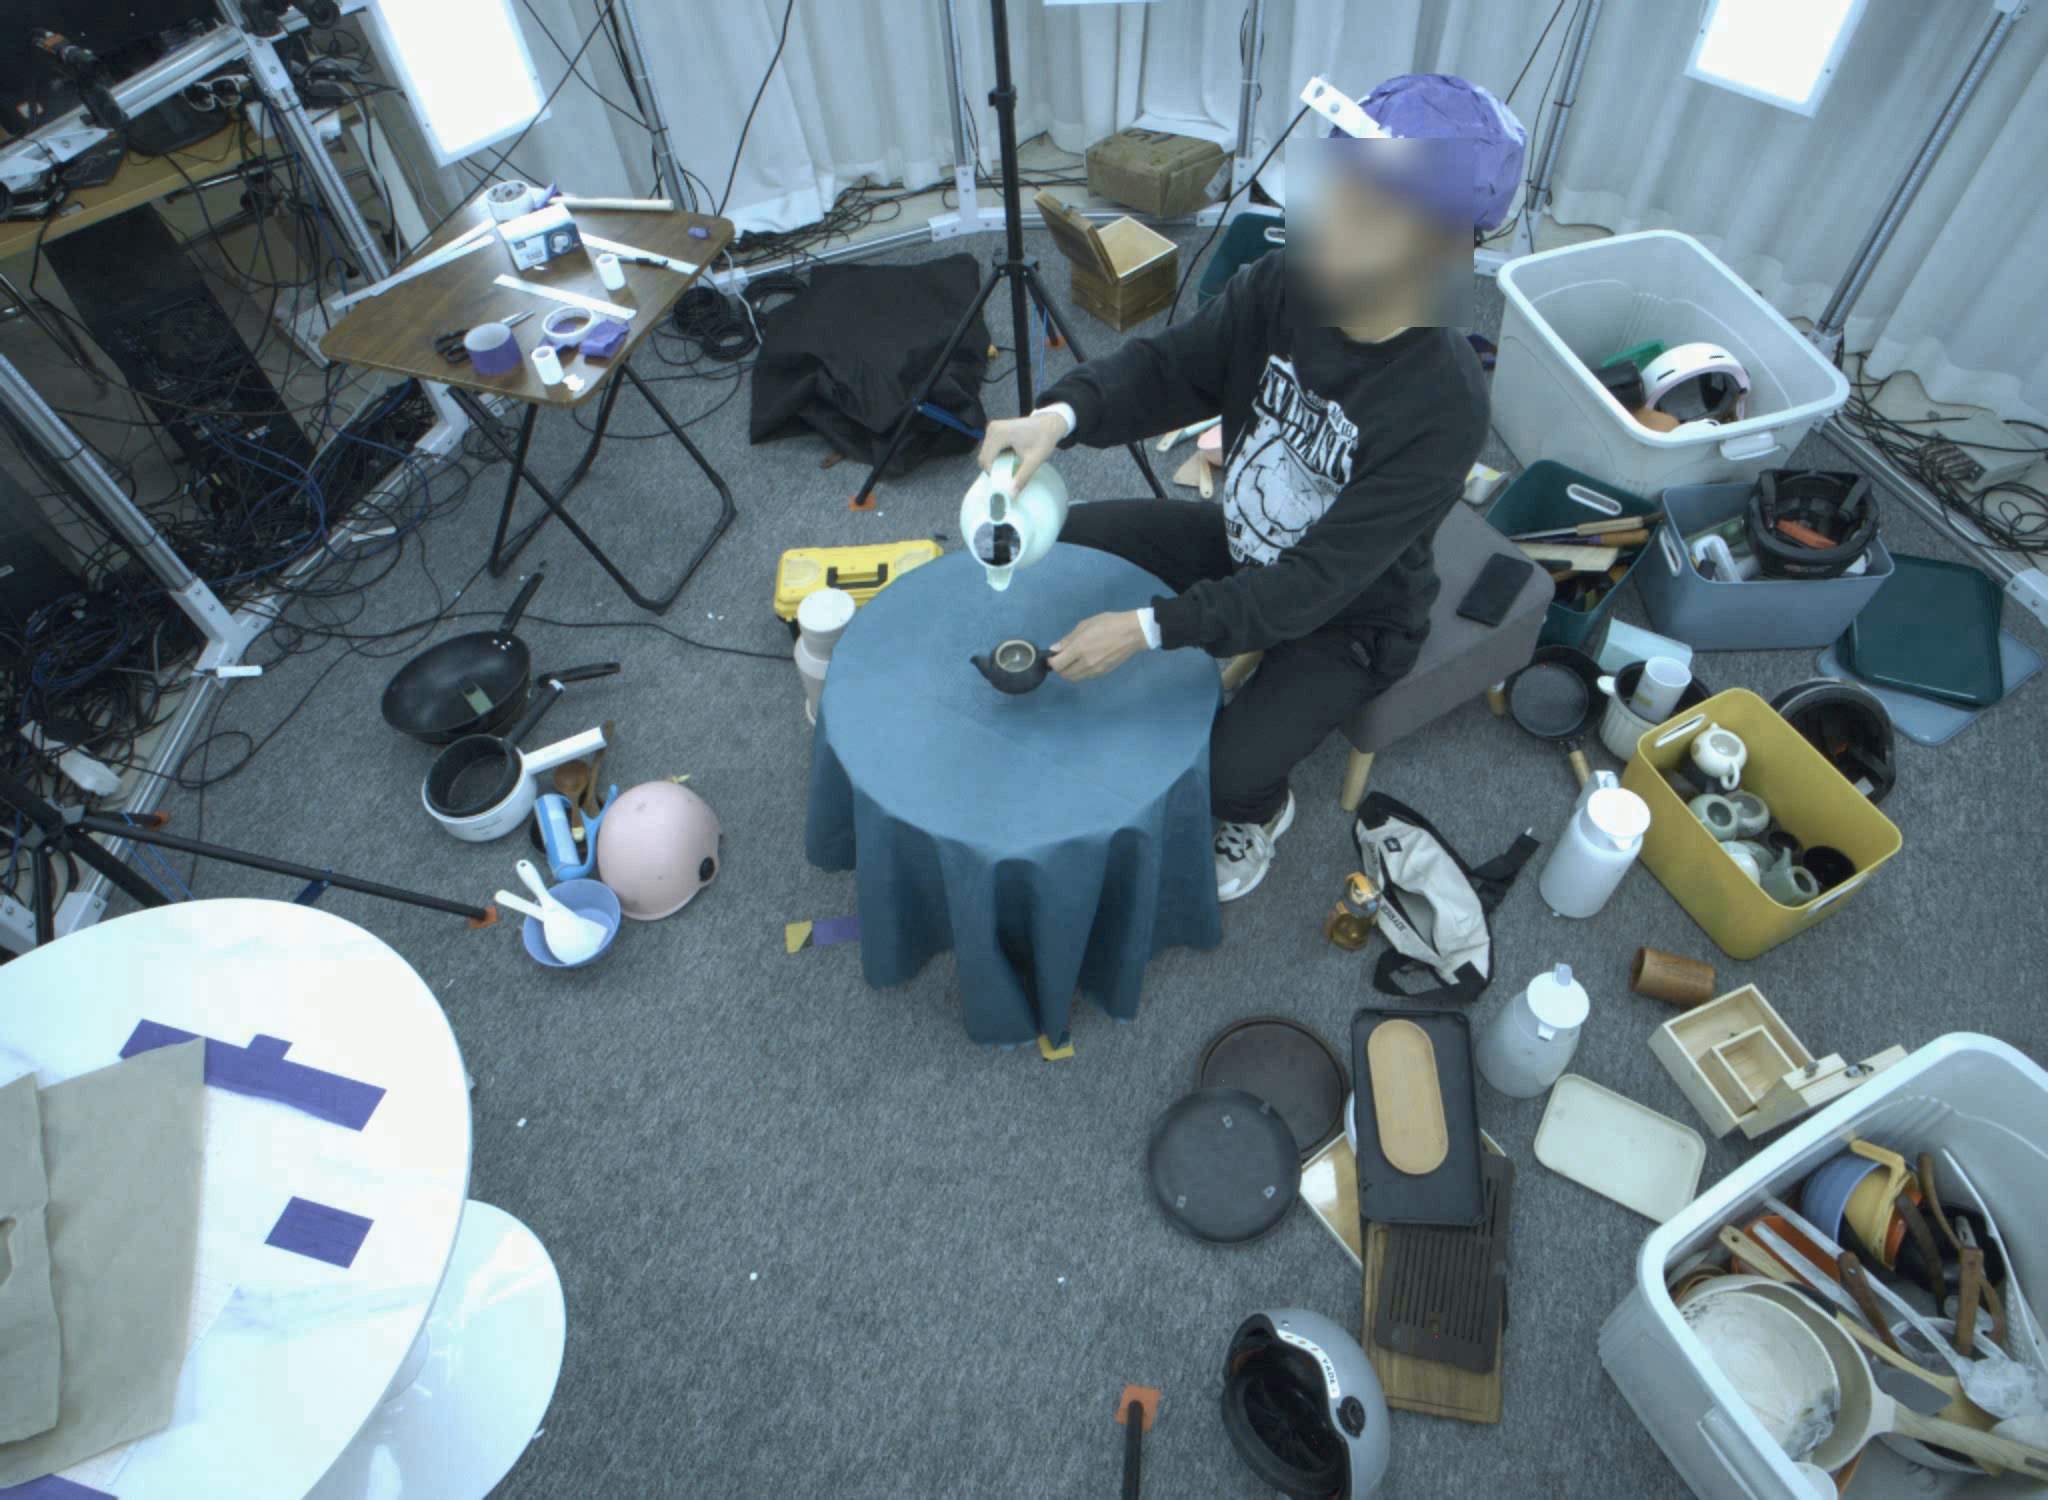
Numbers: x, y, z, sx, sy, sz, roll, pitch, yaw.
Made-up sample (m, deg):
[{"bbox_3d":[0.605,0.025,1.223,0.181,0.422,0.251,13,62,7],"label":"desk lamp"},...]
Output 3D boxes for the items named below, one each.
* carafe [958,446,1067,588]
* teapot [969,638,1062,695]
[{"bbox_3d":[-0.023,-0.338,1.717,0.144,0.188,0.256,4,21,6],"label":"carafe"},{"bbox_3d":[-0.011,-0.123,1.780,0.133,0.053,0.090,-5,60,0],"label":"teapot"}]
